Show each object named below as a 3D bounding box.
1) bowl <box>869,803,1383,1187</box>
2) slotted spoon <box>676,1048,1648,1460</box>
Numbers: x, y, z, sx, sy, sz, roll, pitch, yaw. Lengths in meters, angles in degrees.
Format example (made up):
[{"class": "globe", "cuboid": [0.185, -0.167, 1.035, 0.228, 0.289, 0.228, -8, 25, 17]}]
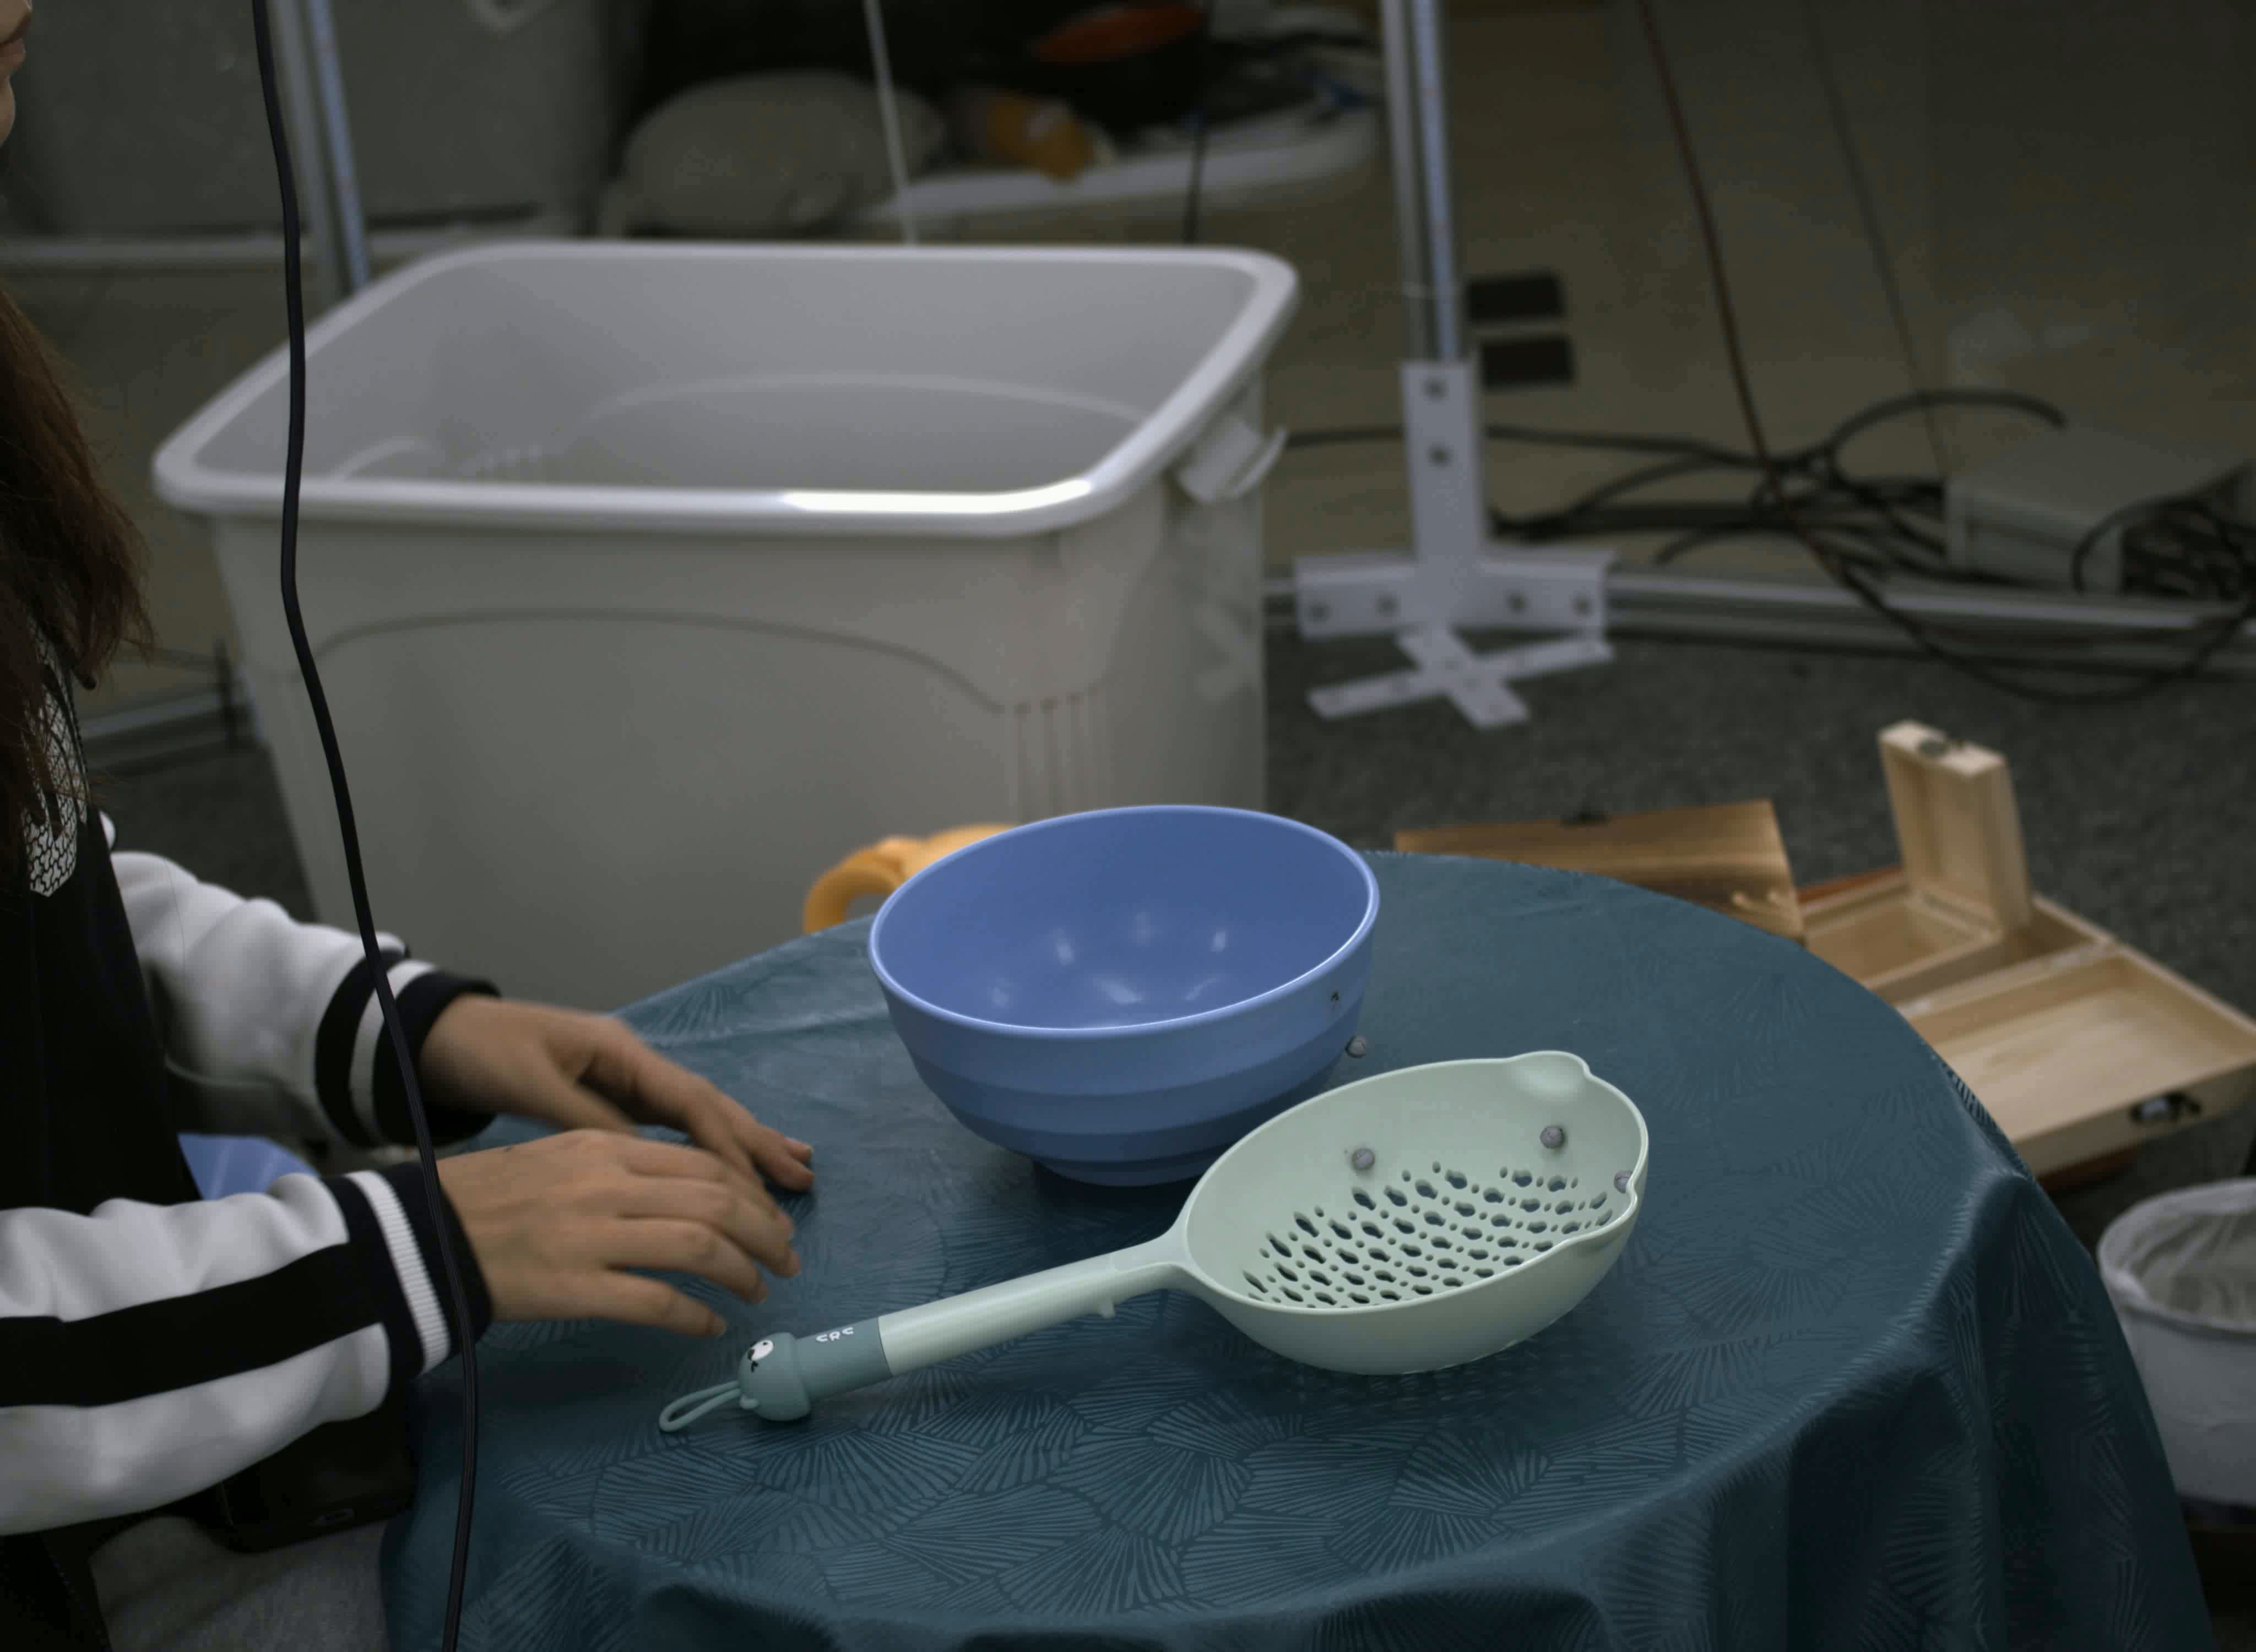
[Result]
[{"class": "bowl", "cuboid": [0.004, 0.075, 2.170, 0.196, 0.097, 0.193, -5, 25, 3]}, {"class": "slotted spoon", "cuboid": [0.010, 0.165, 2.021, 0.358, 0.076, 0.167, -9, 24, -1]}]
